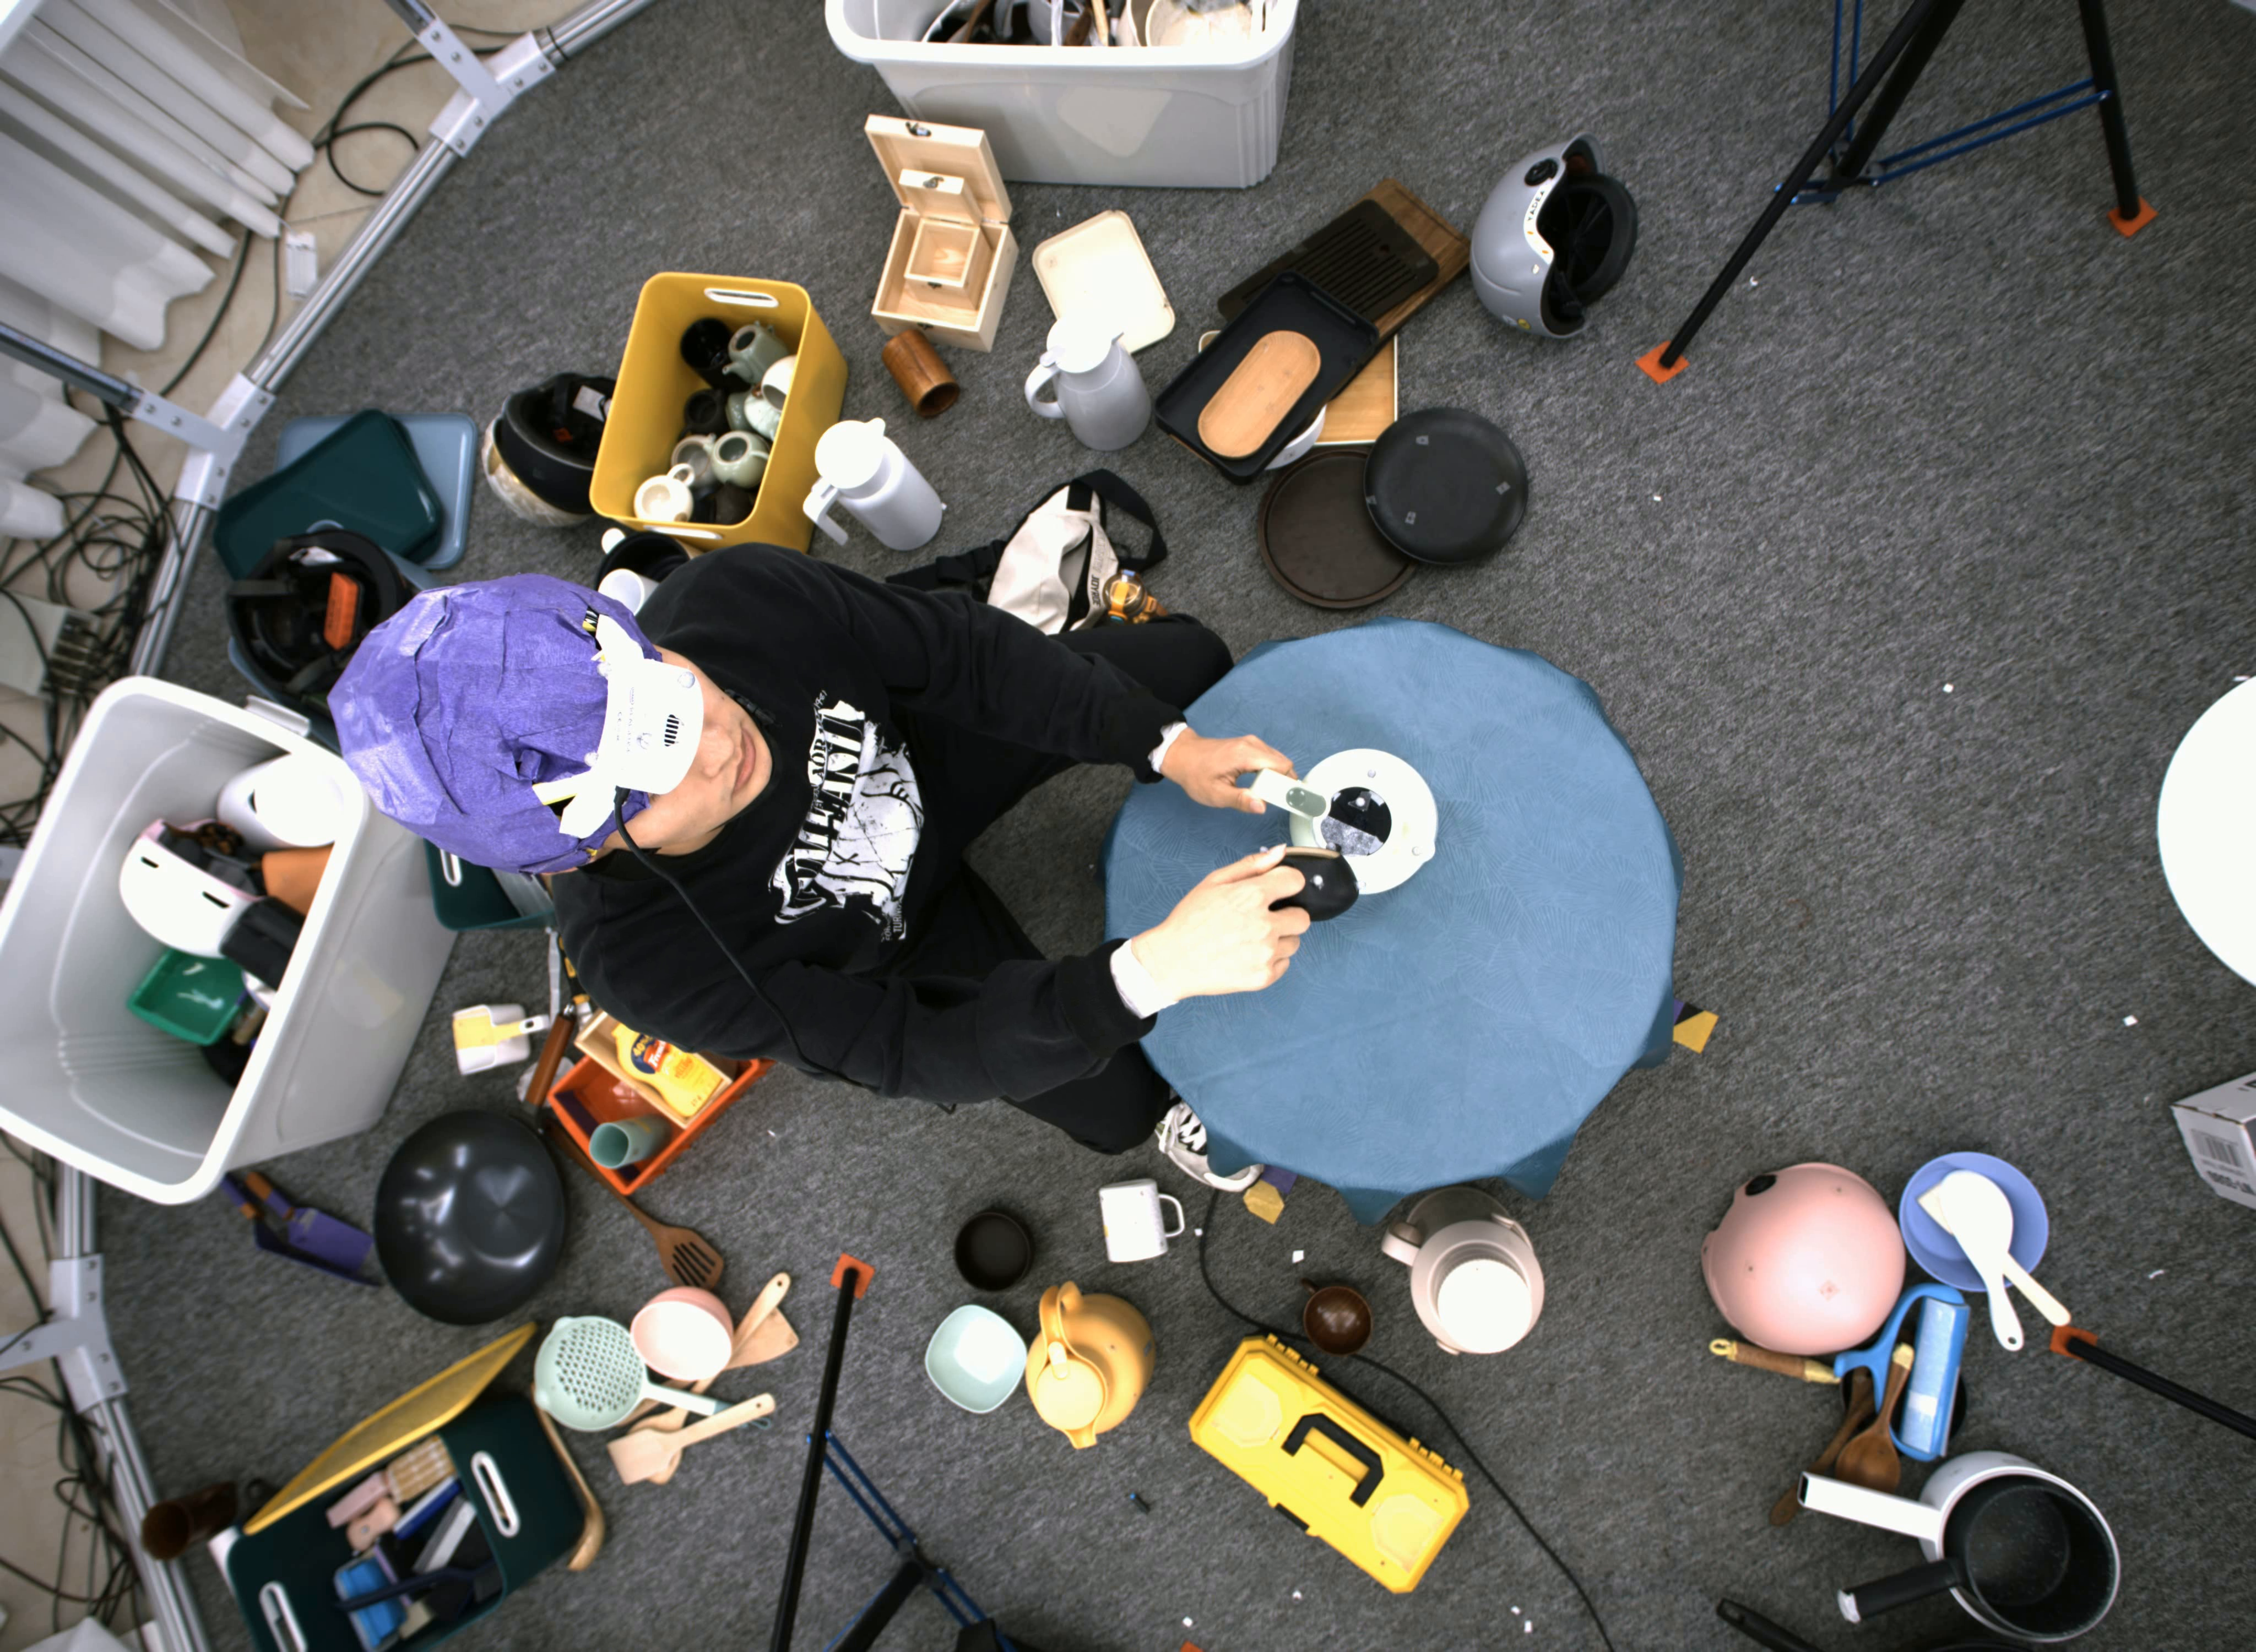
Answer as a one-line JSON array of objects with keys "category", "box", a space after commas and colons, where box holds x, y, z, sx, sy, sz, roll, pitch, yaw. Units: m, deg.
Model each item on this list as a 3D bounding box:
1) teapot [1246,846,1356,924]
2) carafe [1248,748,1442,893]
[{"category": "teapot", "box": [0.142, 0.049, 1.141, 0.091, 0.131, 0.053, 7, 101, 31]}, {"category": "carafe", "box": [0.216, -0.012, 1.343, 0.186, 0.255, 0.145, 23, 98, 15]}]
